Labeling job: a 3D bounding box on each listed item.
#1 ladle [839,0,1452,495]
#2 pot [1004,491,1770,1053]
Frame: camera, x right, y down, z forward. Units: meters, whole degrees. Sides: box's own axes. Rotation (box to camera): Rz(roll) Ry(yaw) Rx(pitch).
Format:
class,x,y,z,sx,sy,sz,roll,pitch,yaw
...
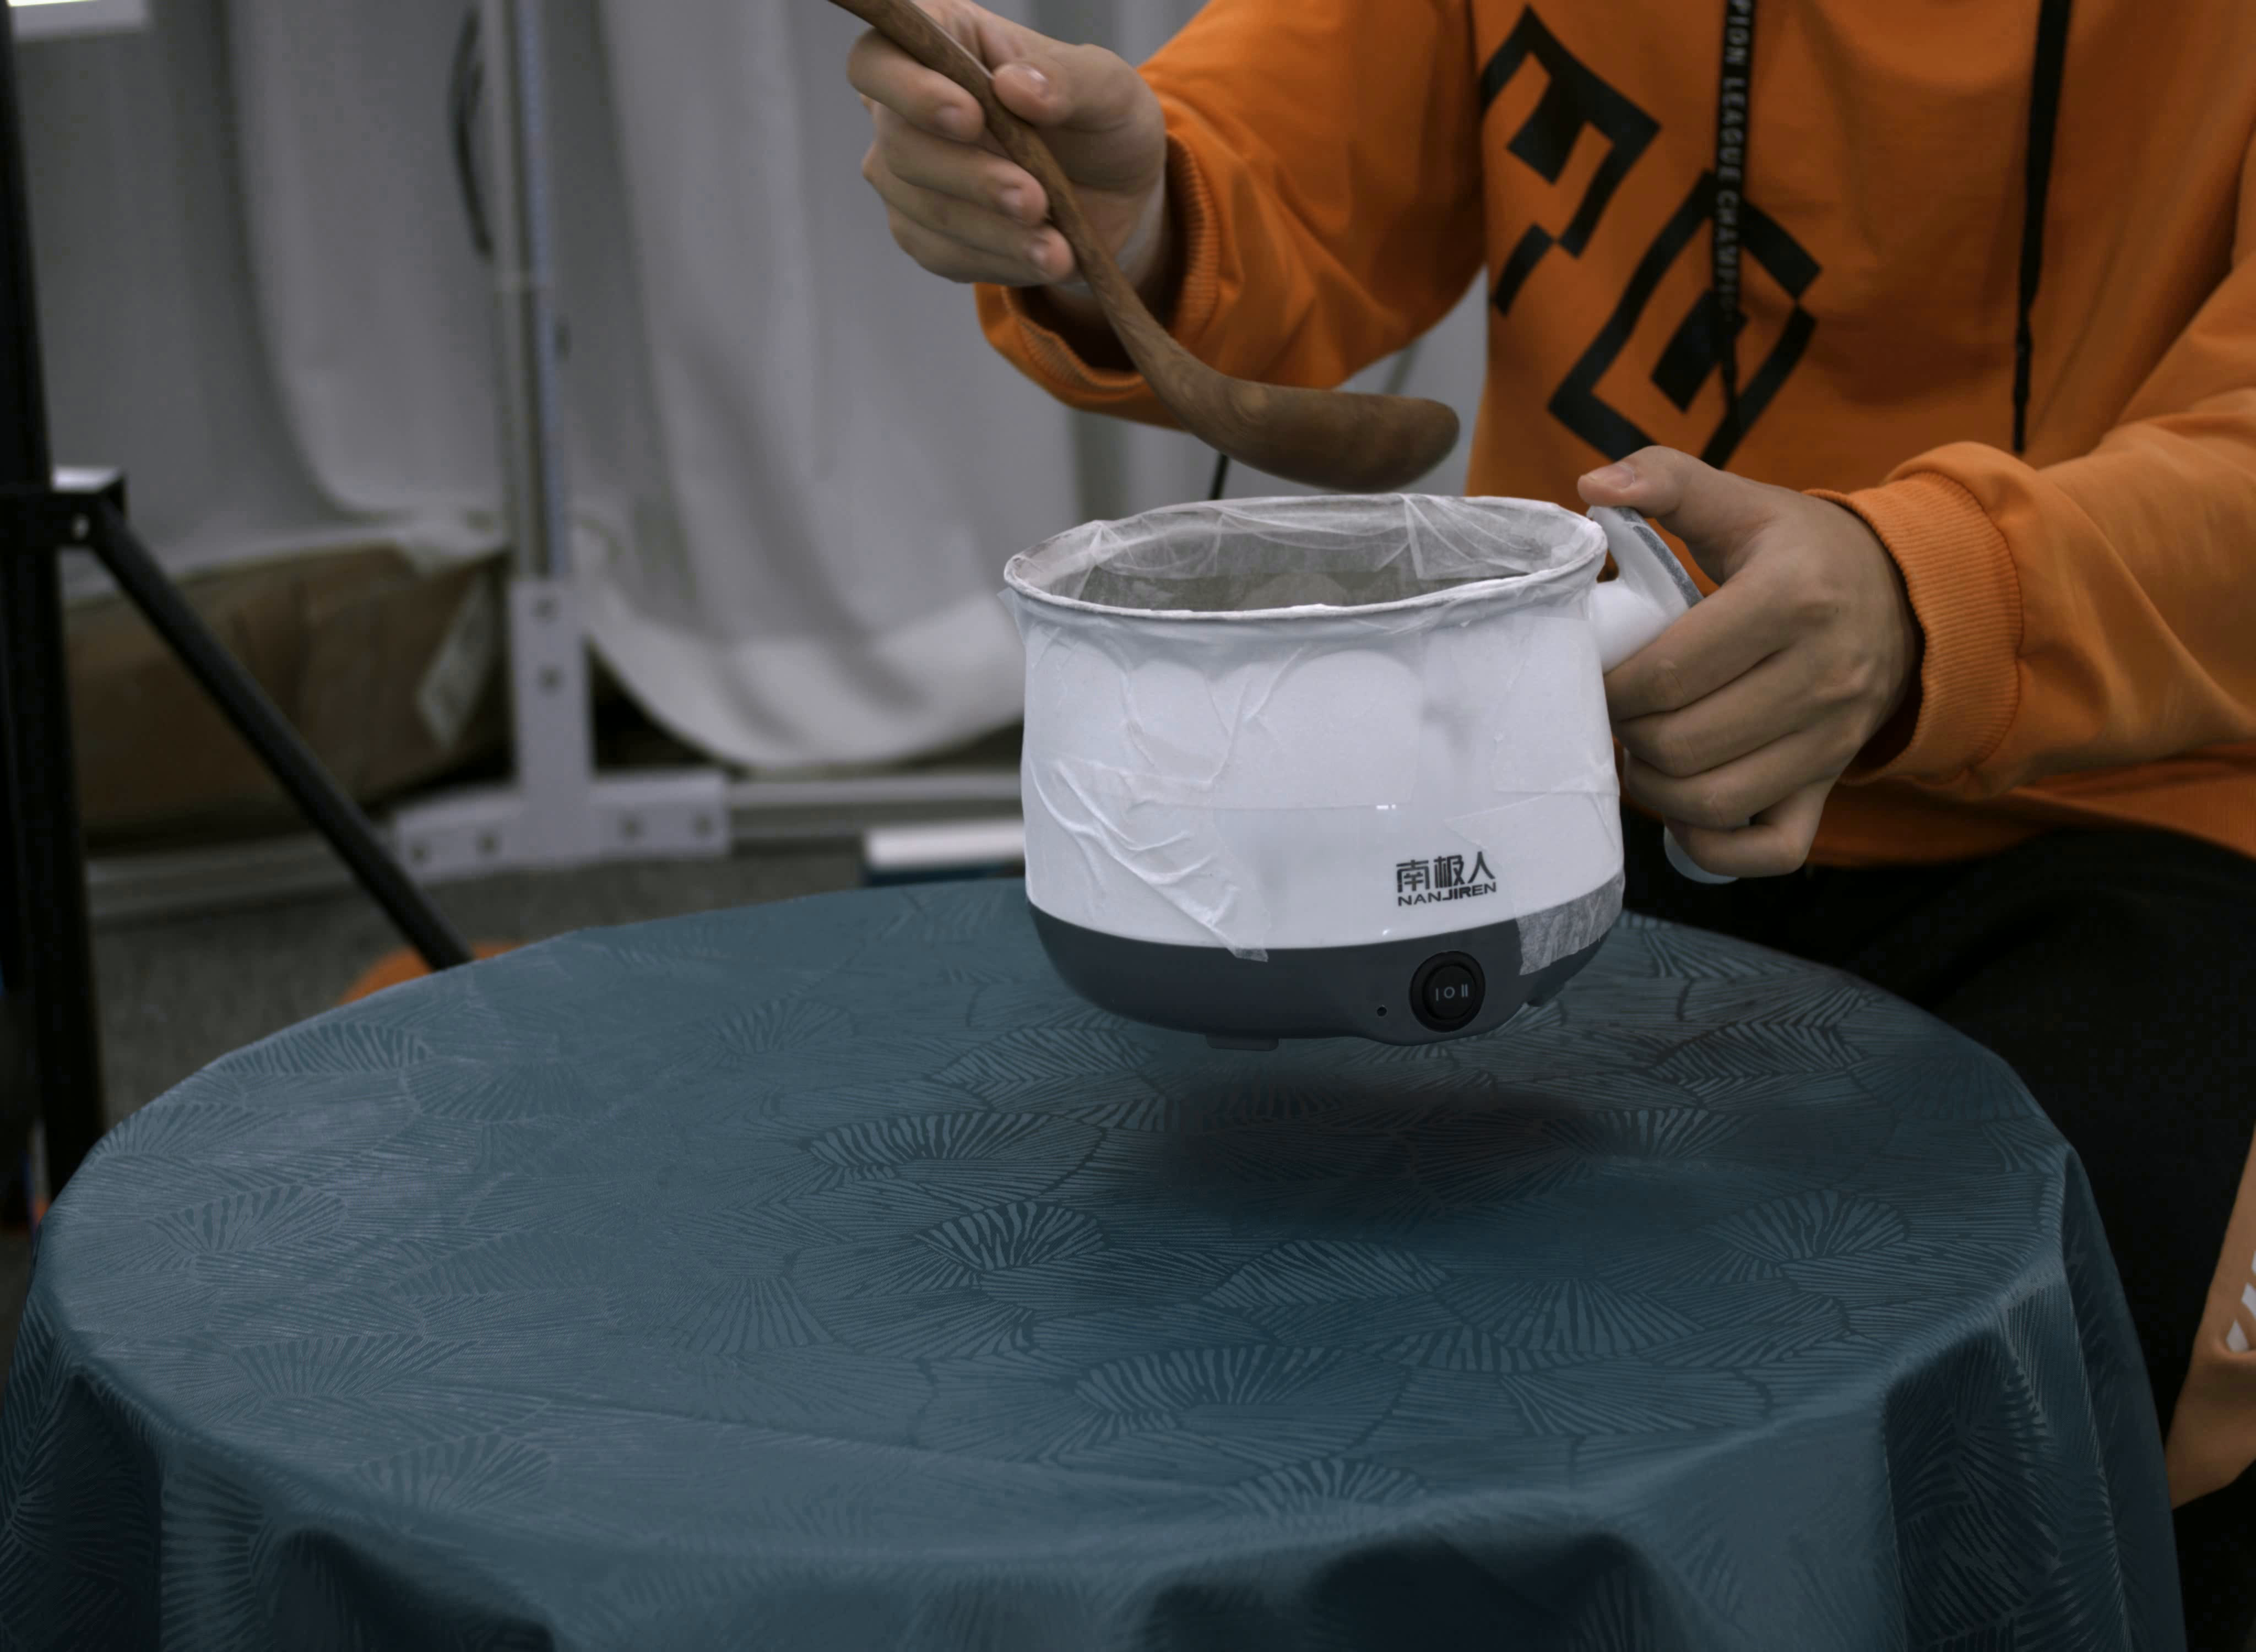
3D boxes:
class,x,y,z,sx,sy,sz,roll,pitch,yaw
ladle,-0.008,-0.192,1.586,0.065,0.262,0.076,-42,-12,2
pot,0.081,-0.022,1.570,0.229,0.136,0.182,-9,15,-20
